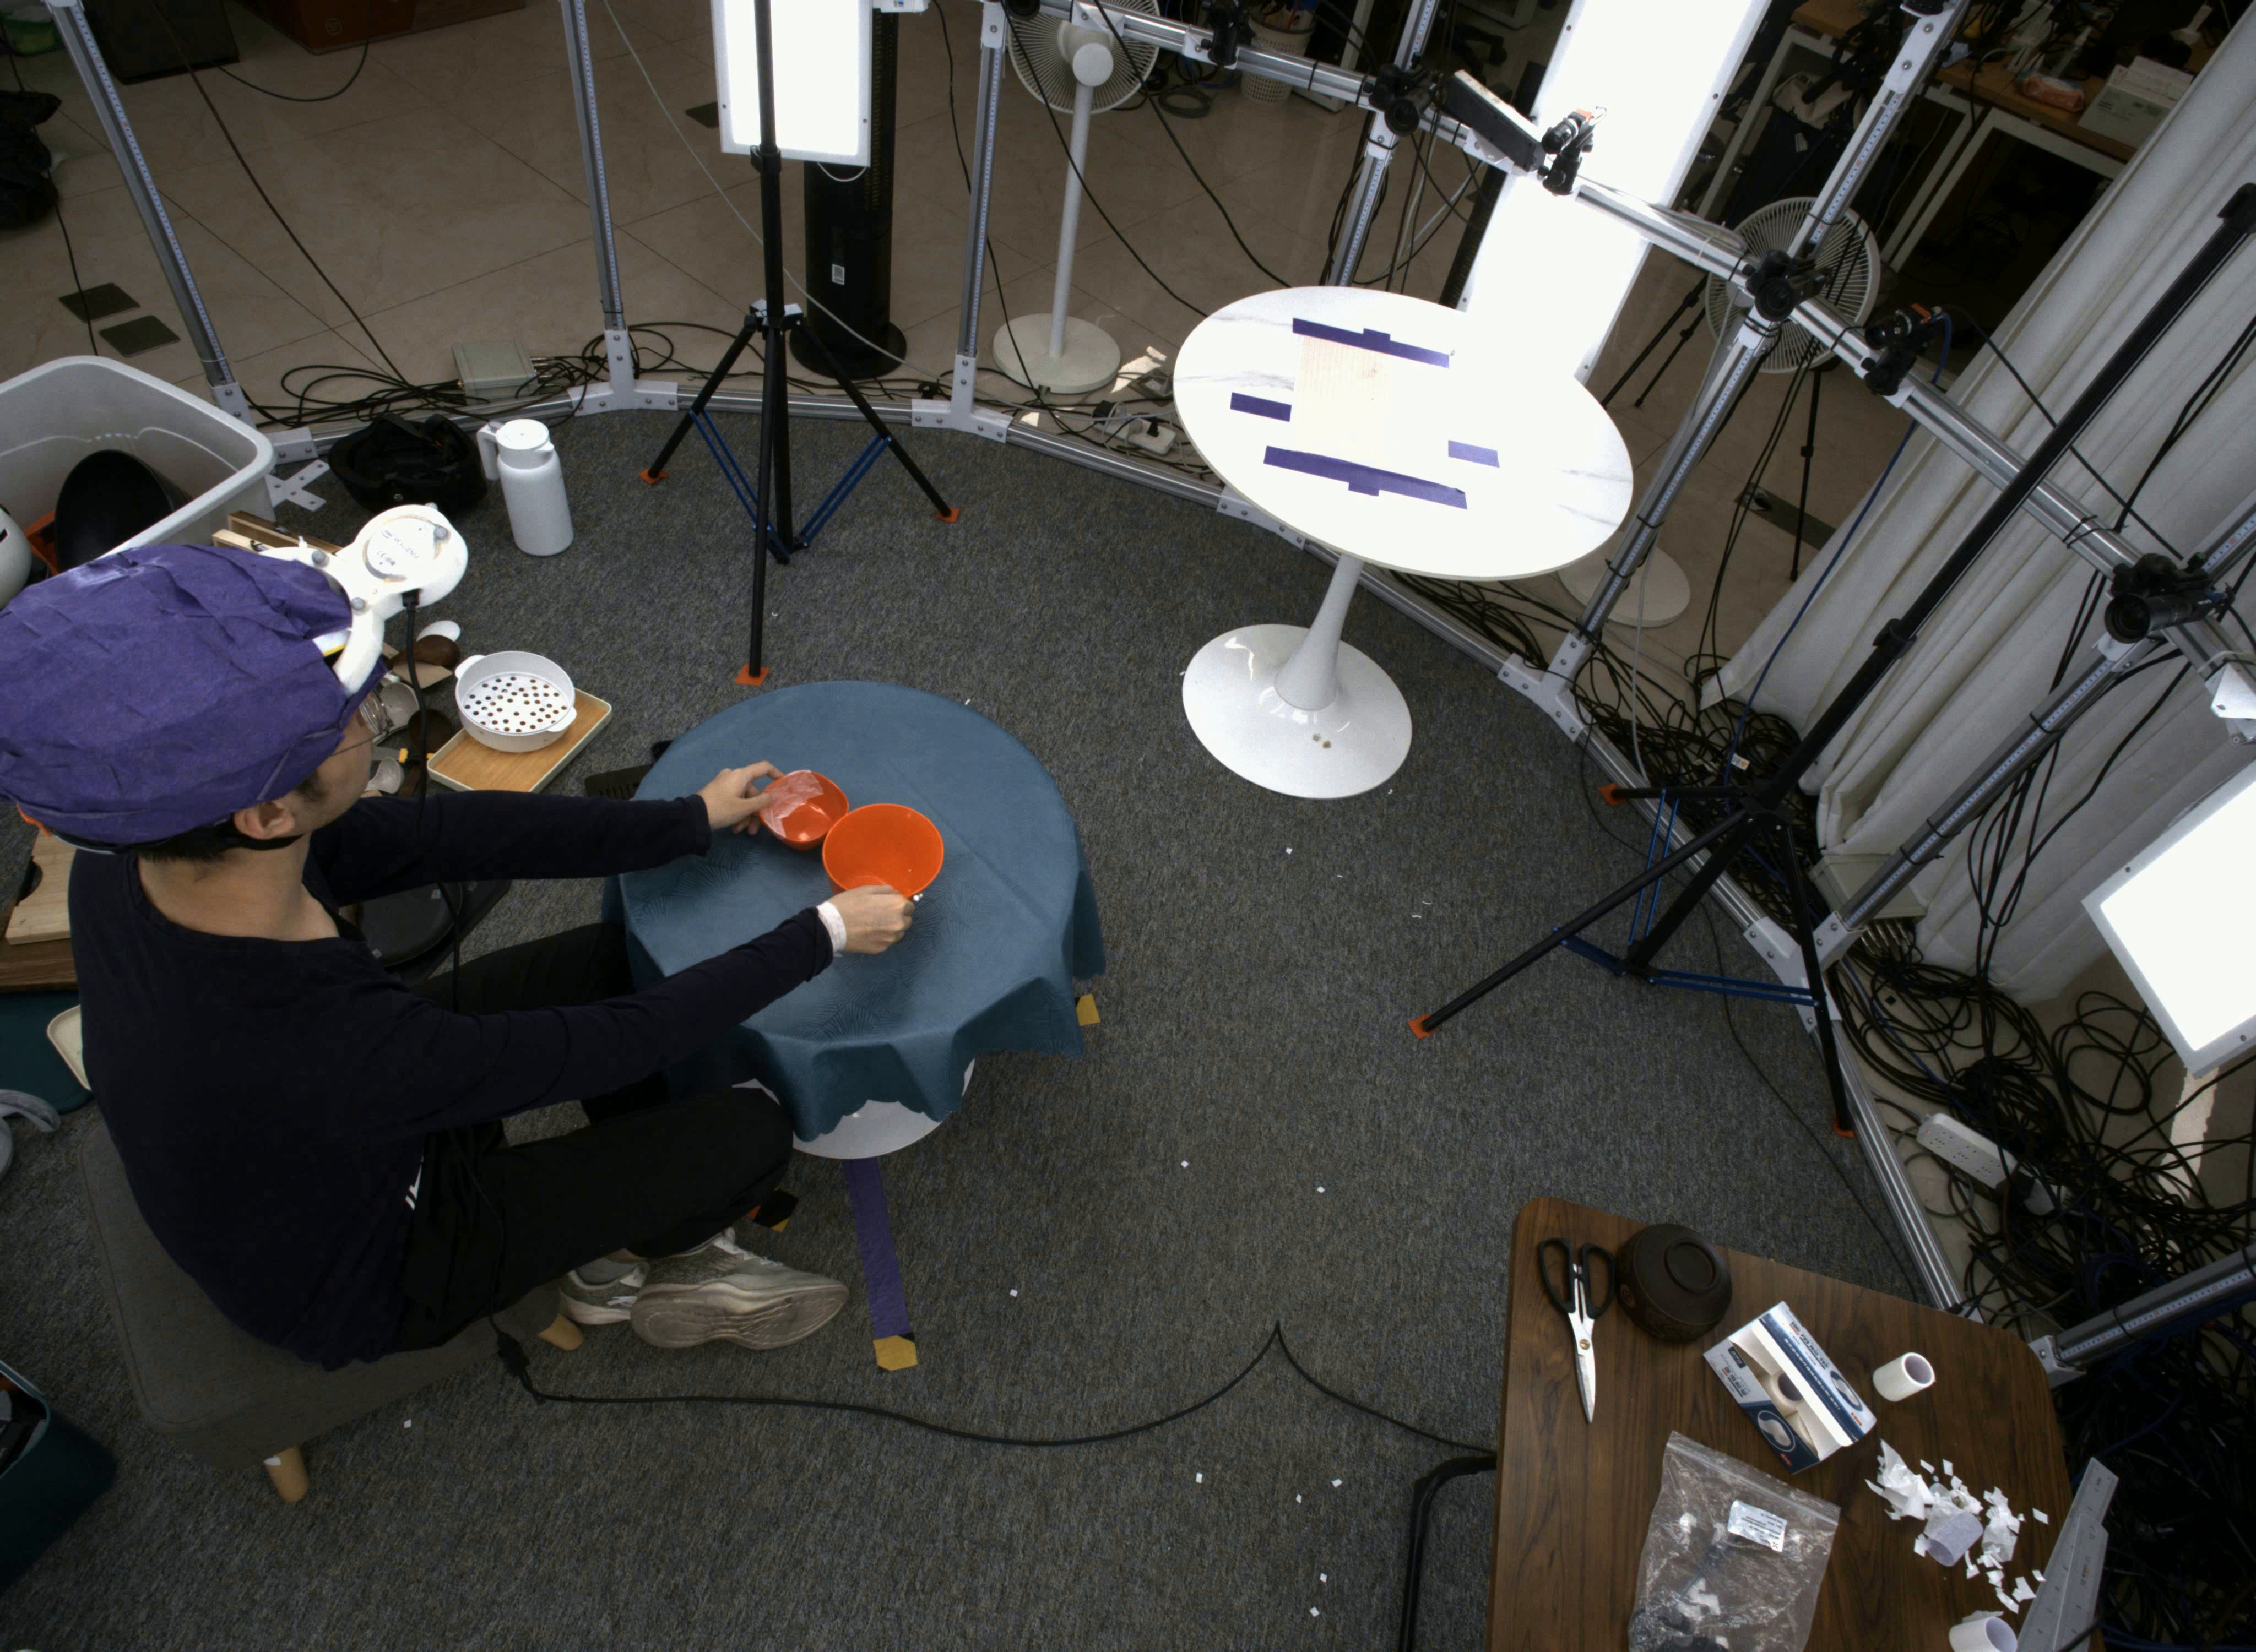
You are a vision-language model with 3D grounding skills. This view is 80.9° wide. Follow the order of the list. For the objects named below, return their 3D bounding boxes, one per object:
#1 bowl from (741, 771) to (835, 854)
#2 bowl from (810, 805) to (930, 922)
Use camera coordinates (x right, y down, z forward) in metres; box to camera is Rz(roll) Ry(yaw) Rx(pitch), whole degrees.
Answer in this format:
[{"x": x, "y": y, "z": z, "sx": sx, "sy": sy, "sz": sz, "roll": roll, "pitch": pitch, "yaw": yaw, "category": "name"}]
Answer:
[{"x": -0.447, "y": -0.010, "z": 1.704, "sx": 0.119, "sy": 0.052, "sz": 0.117, "roll": 8, "pitch": 53, "yaw": -9, "category": "bowl"}, {"x": -0.332, "y": 0.059, "z": 1.648, "sx": 0.148, "sy": 0.106, "sz": 0.145, "roll": 13, "pitch": 47, "yaw": -12, "category": "bowl"}]
